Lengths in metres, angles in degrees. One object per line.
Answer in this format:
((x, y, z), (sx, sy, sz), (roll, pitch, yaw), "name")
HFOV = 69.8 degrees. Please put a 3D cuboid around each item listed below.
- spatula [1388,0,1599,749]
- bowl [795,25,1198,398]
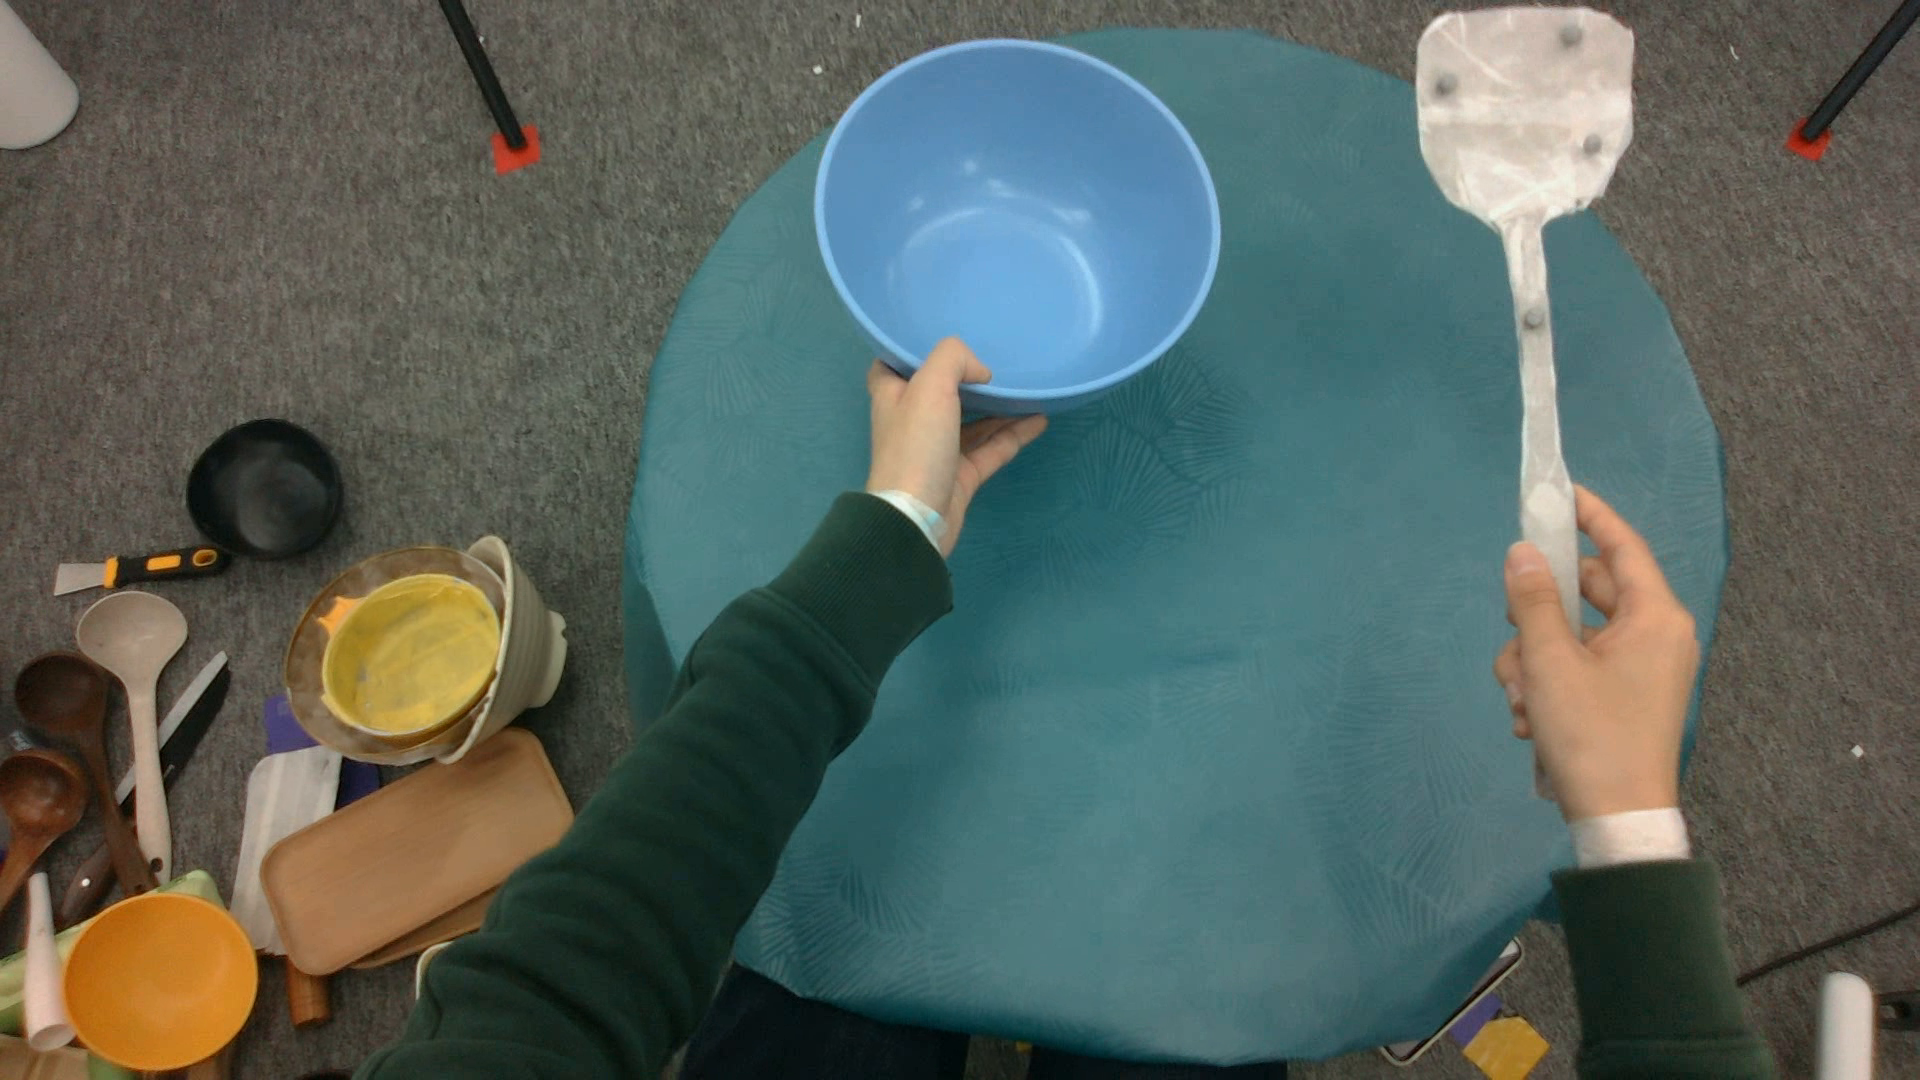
((0.240, -0.088, 0.612), (0.098, 0.044, 0.366), (5, 66, 6), "spatula")
((0.014, -0.152, 0.704), (0.196, 0.095, 0.197), (3, 70, -7), "bowl")
